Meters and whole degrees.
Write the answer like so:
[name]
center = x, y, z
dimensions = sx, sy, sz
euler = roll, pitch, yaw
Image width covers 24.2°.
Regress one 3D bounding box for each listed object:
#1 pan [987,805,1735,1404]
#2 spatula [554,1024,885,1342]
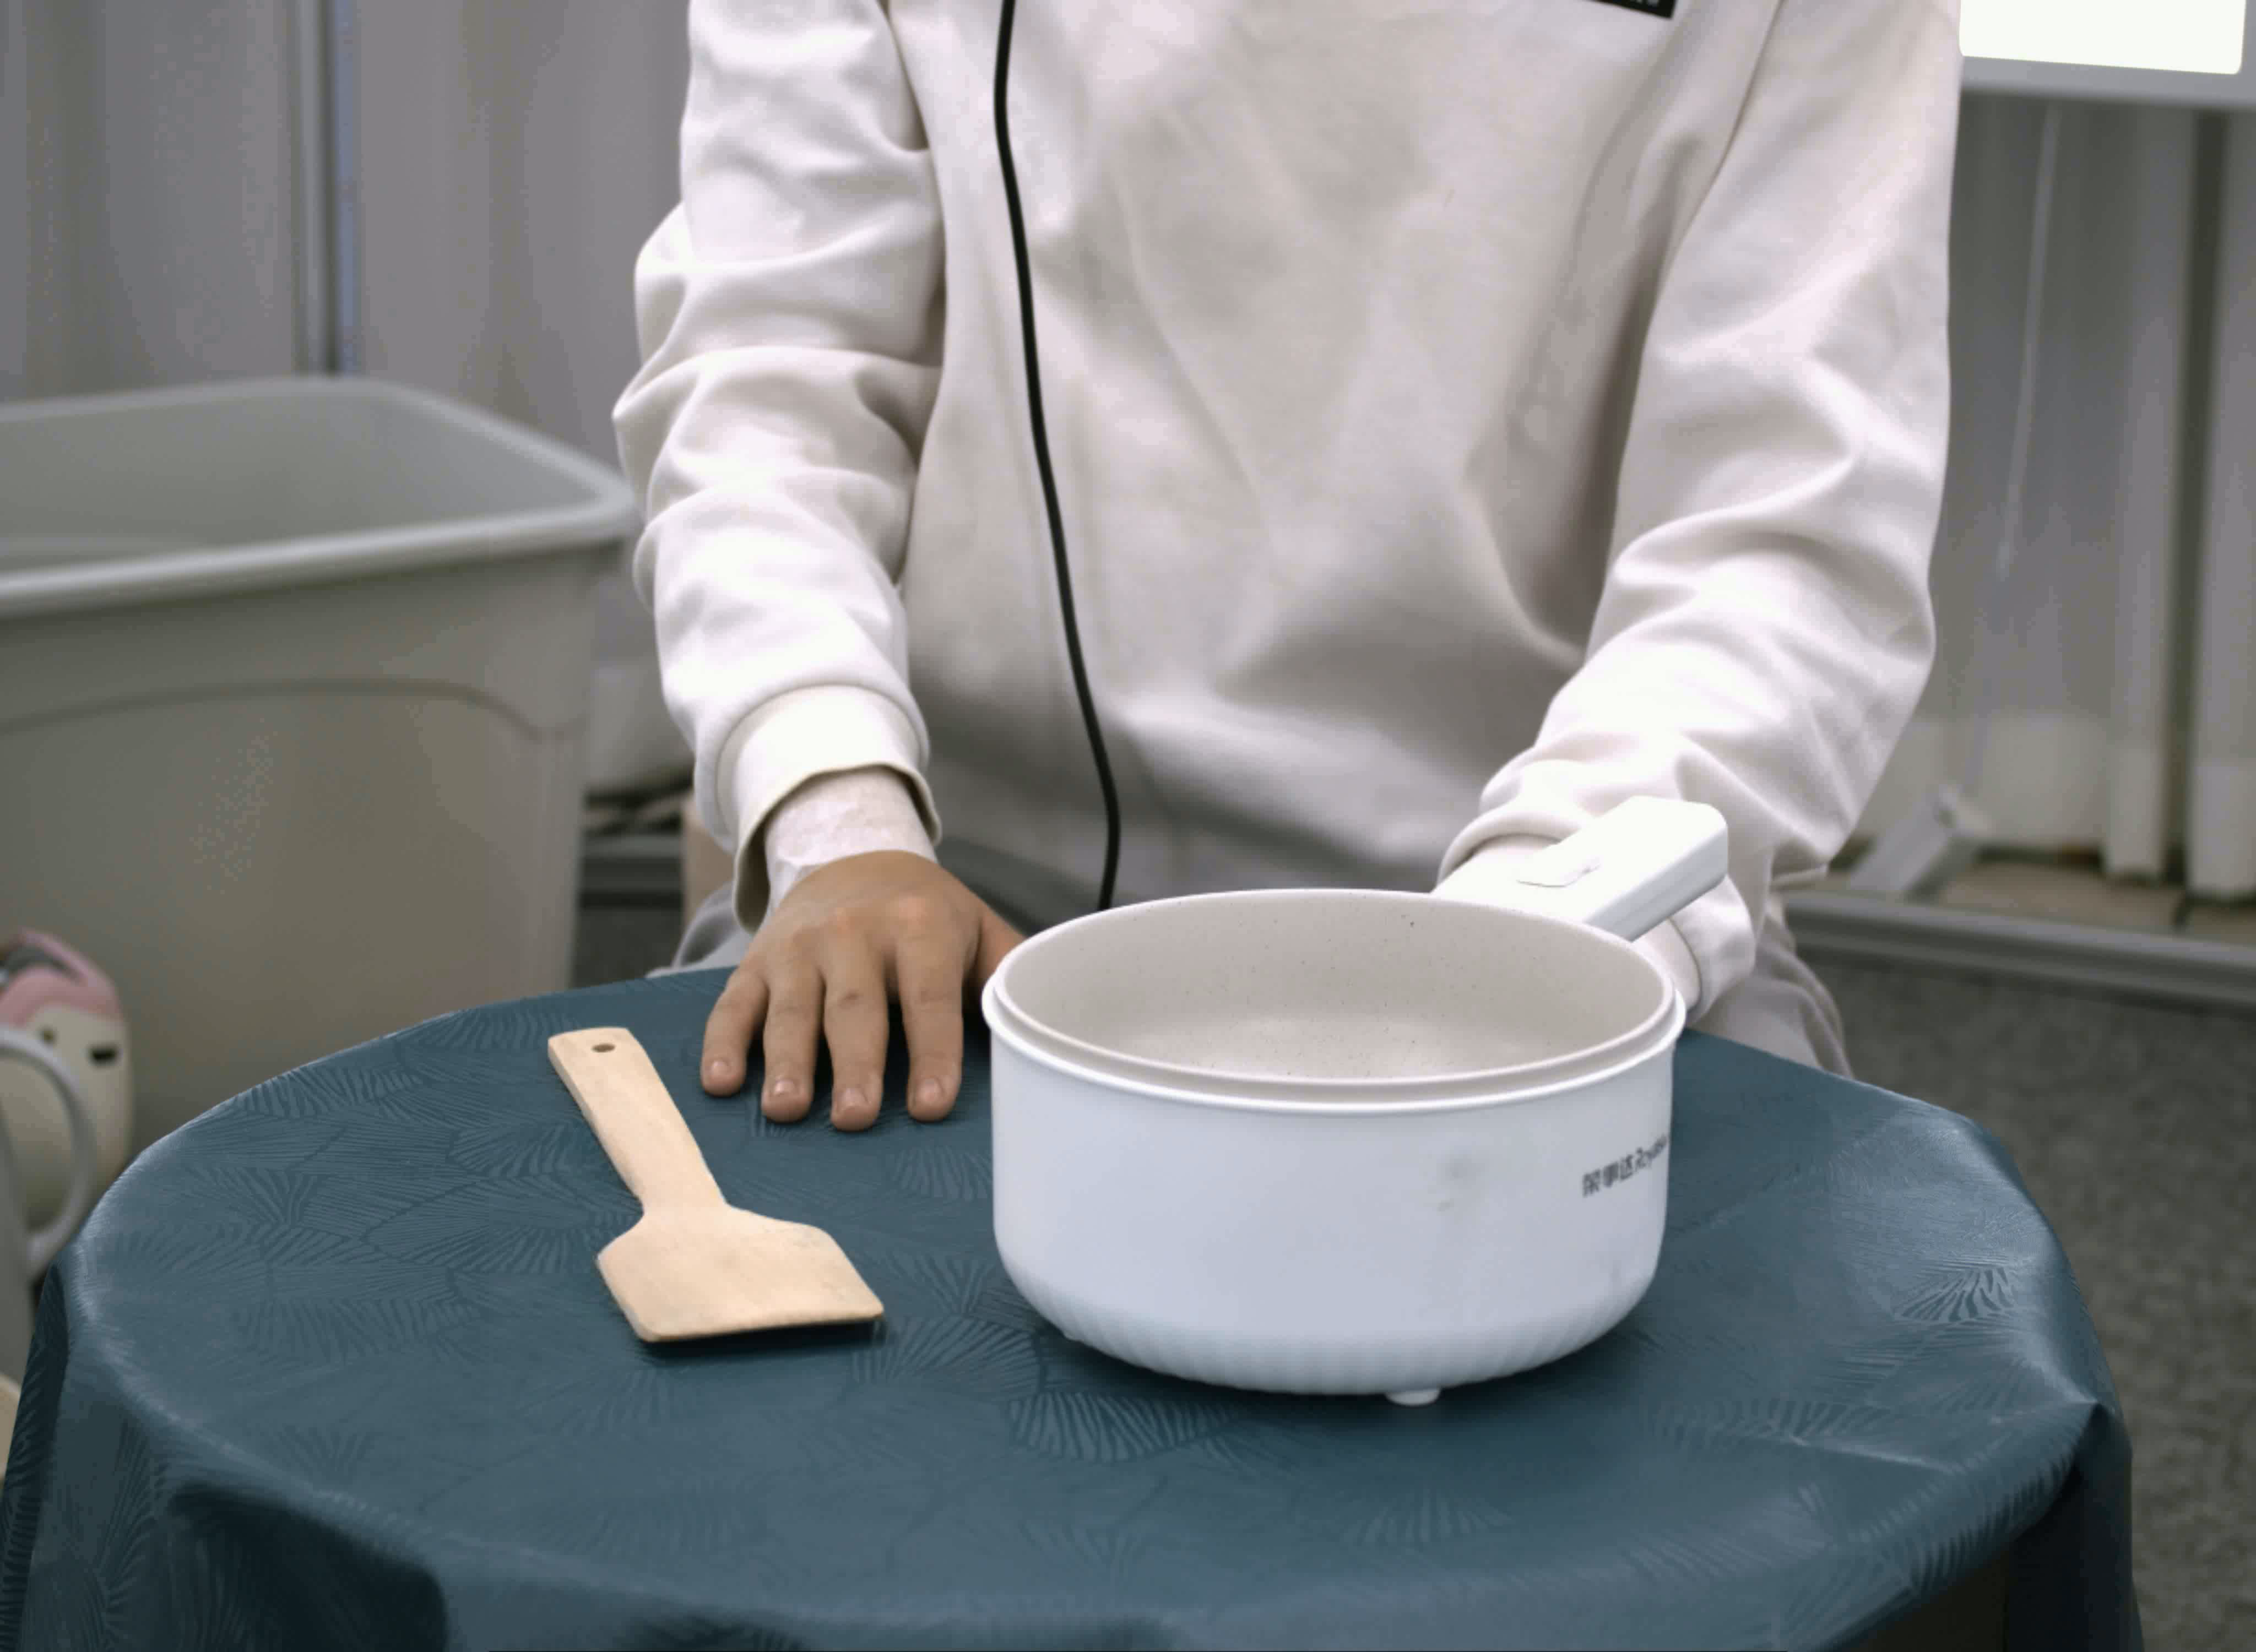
[pan]
center = 0.095, 0.076, 1.582
dimensions = 0.199, 0.103, 0.356
euler = 8, 16, 27
[spatula]
center = -0.142, 0.107, 1.626
dimensions = 0.072, 0.011, 0.290
euler = -5, 16, -15
